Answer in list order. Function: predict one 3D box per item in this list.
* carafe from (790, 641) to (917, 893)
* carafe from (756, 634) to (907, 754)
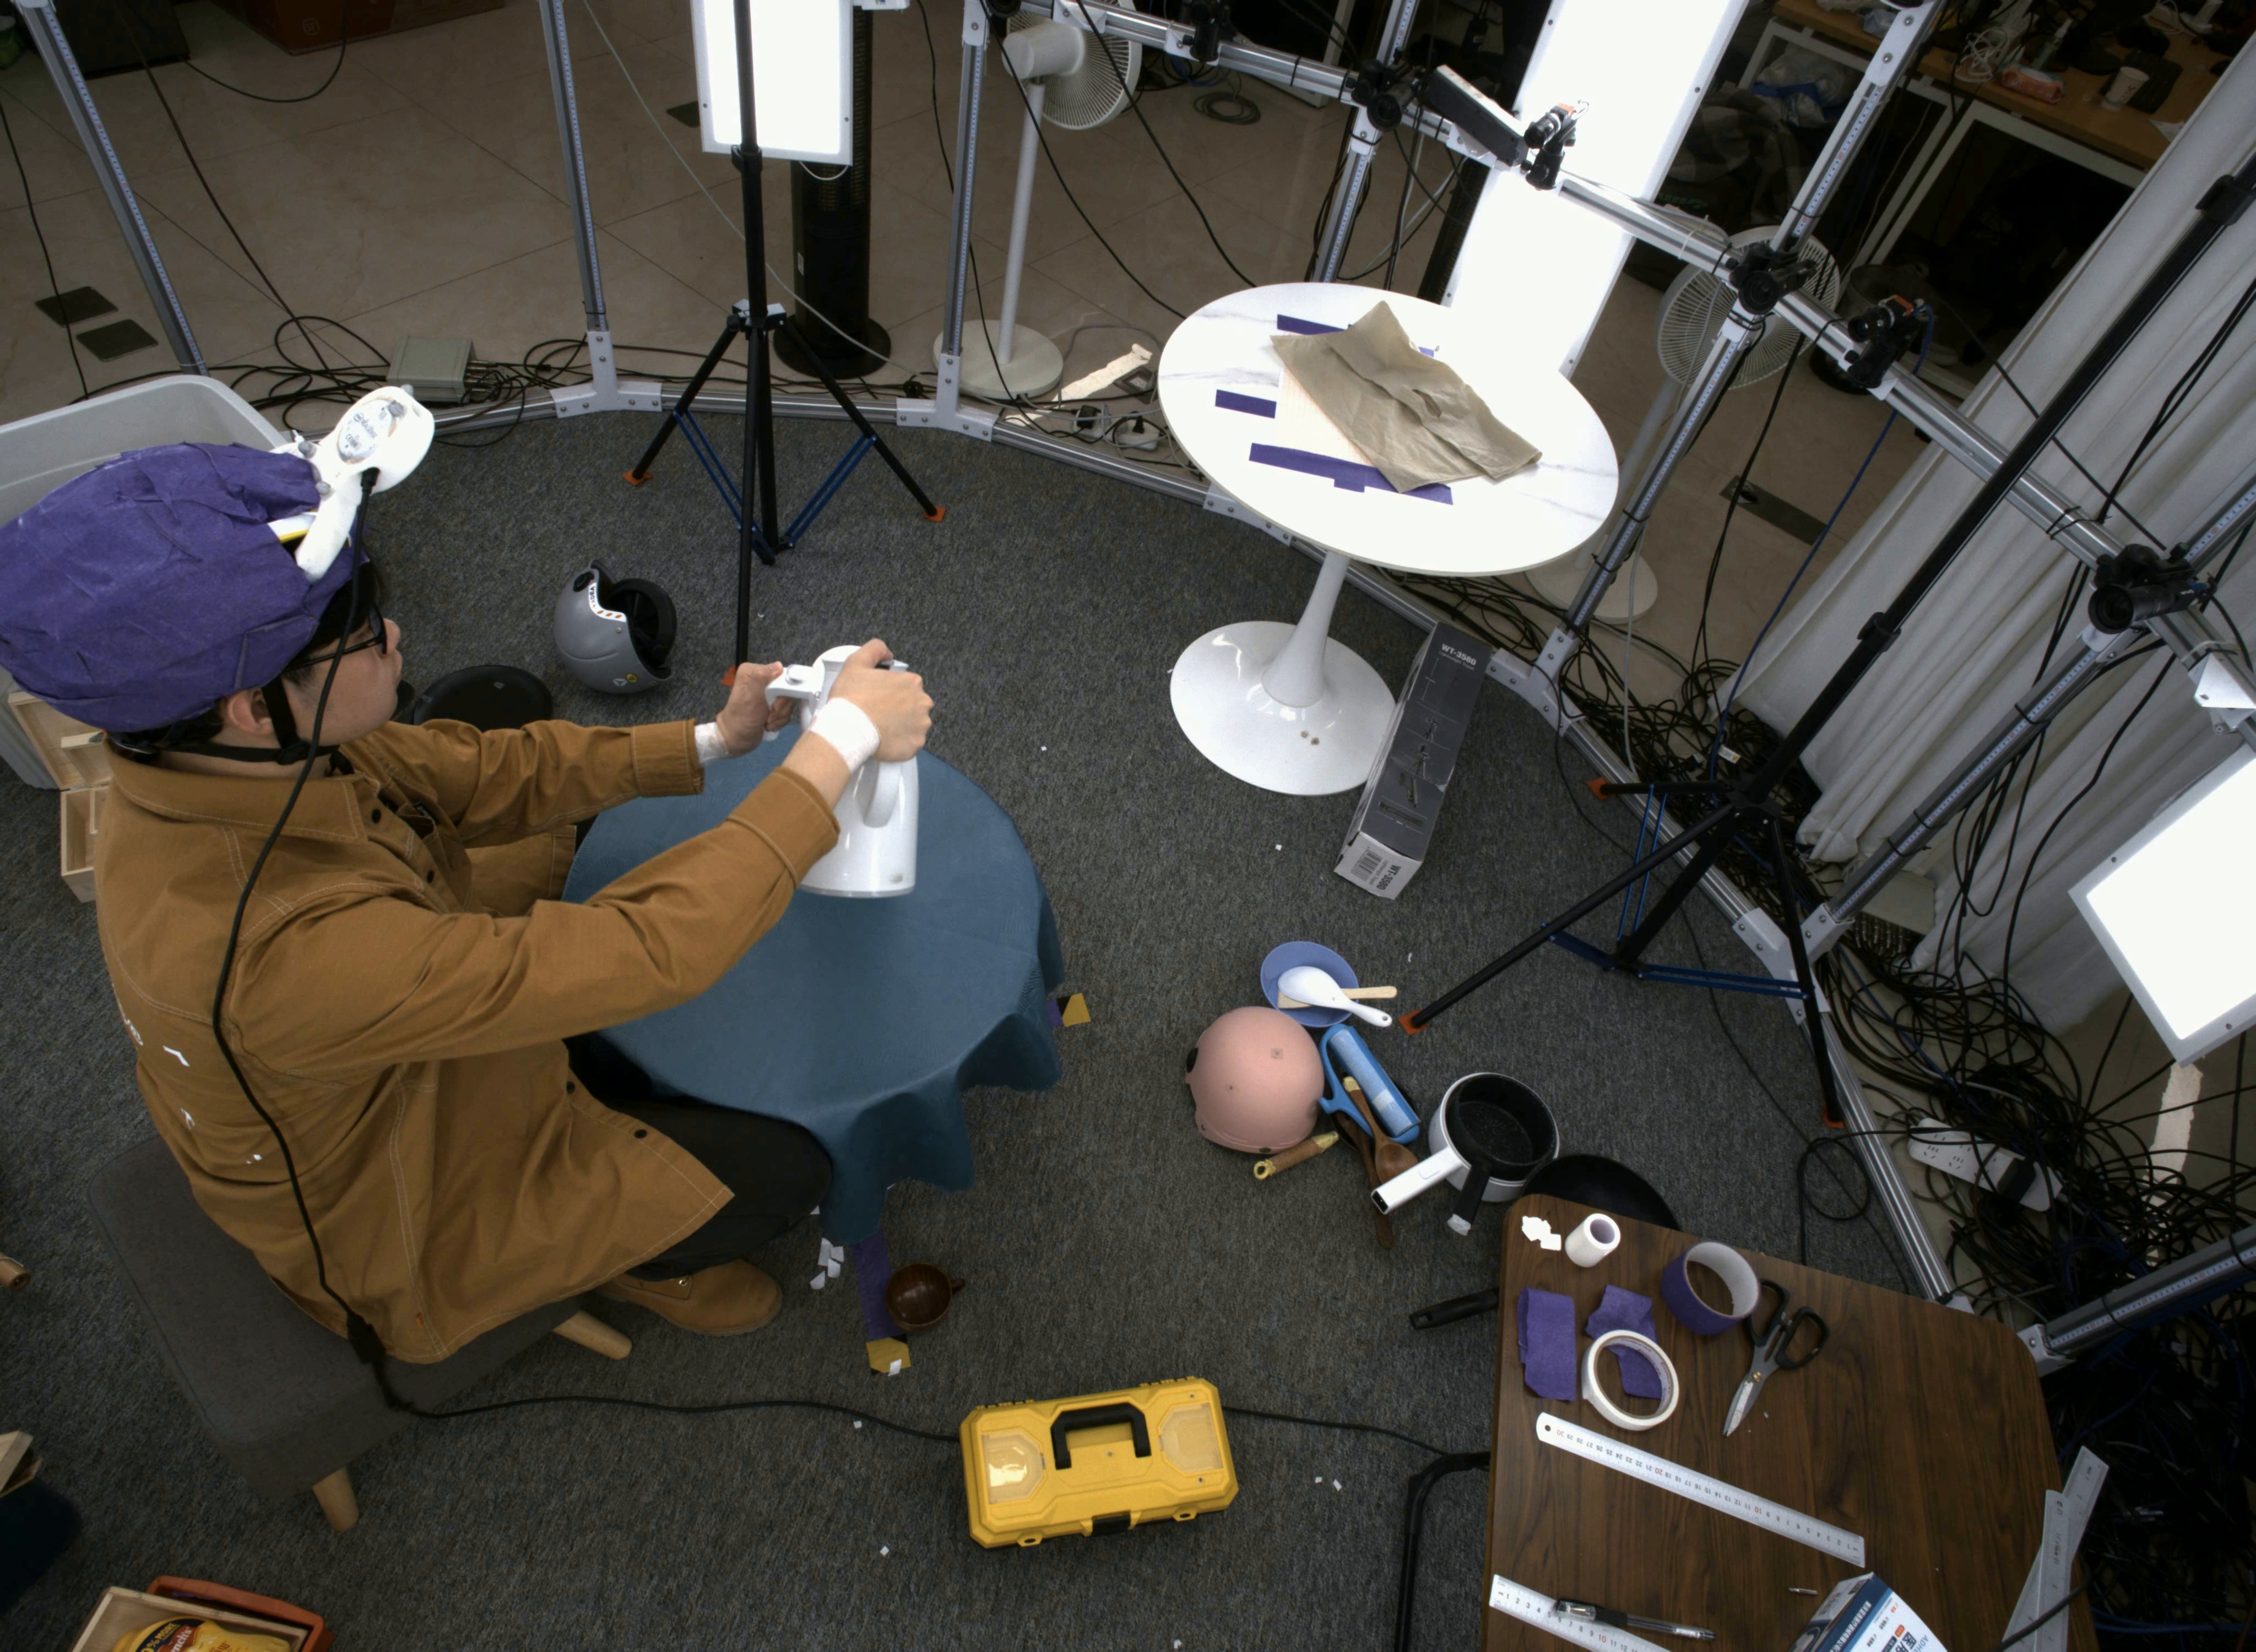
[{"bbox_3d":[-0.276,-0.063,1.343,0.134,0.253,0.162,-1,11,-30],"label":"carafe"},{"bbox_3d":[-0.366,-0.111,1.592,0.173,0.272,0.122,6,61,-11],"label":"carafe"}]
